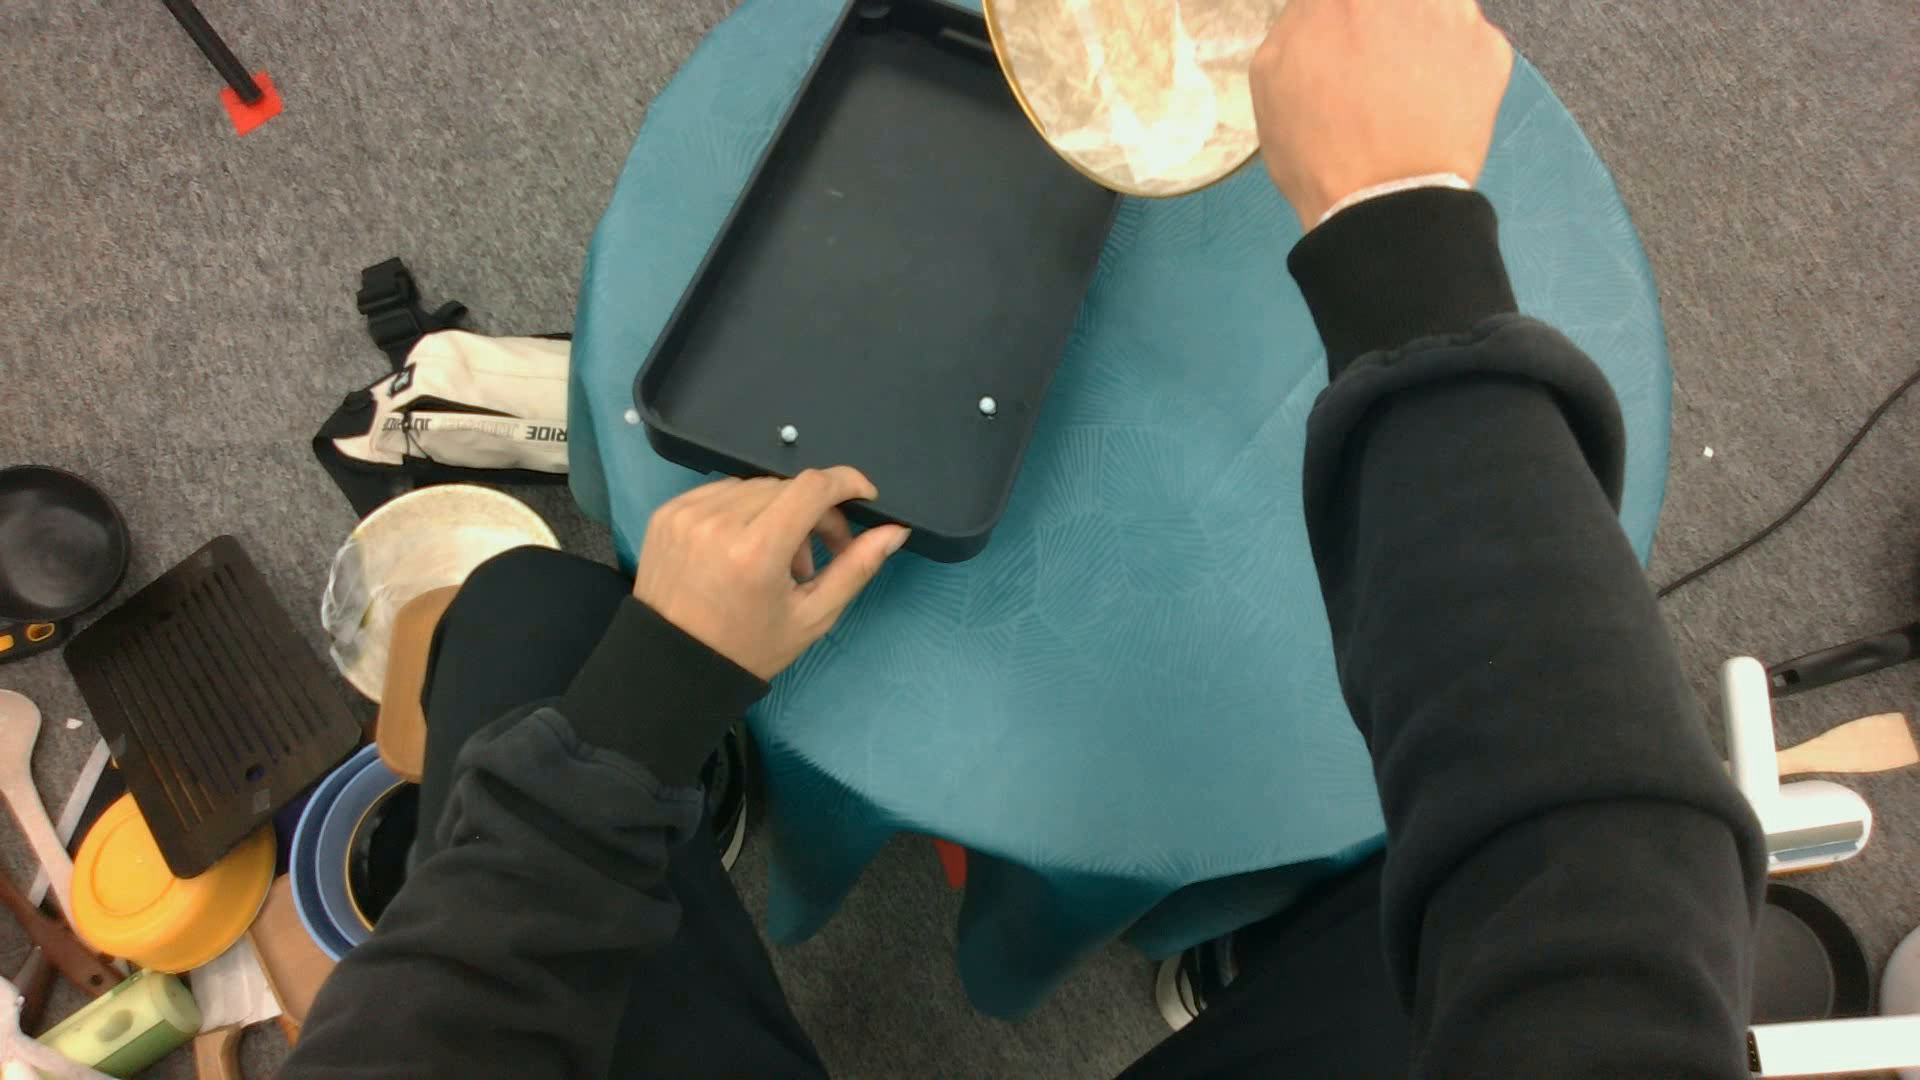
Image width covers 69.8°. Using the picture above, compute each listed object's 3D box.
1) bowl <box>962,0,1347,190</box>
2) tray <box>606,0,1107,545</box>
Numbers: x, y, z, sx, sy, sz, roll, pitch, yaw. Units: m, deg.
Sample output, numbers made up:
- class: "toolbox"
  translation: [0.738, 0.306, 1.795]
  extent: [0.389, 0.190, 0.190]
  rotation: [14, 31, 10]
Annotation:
- class: "bowl"
  translation: [0.098, -0.266, 0.613]
  extent: [0.095, 0.213, 0.215]
  rotation: [-25, 75, -37]
- class: "tray"
  translation: [-0.033, -0.160, 0.712]
  extent: [0.184, 0.037, 0.319]
  rotation: [22, 63, 1]
